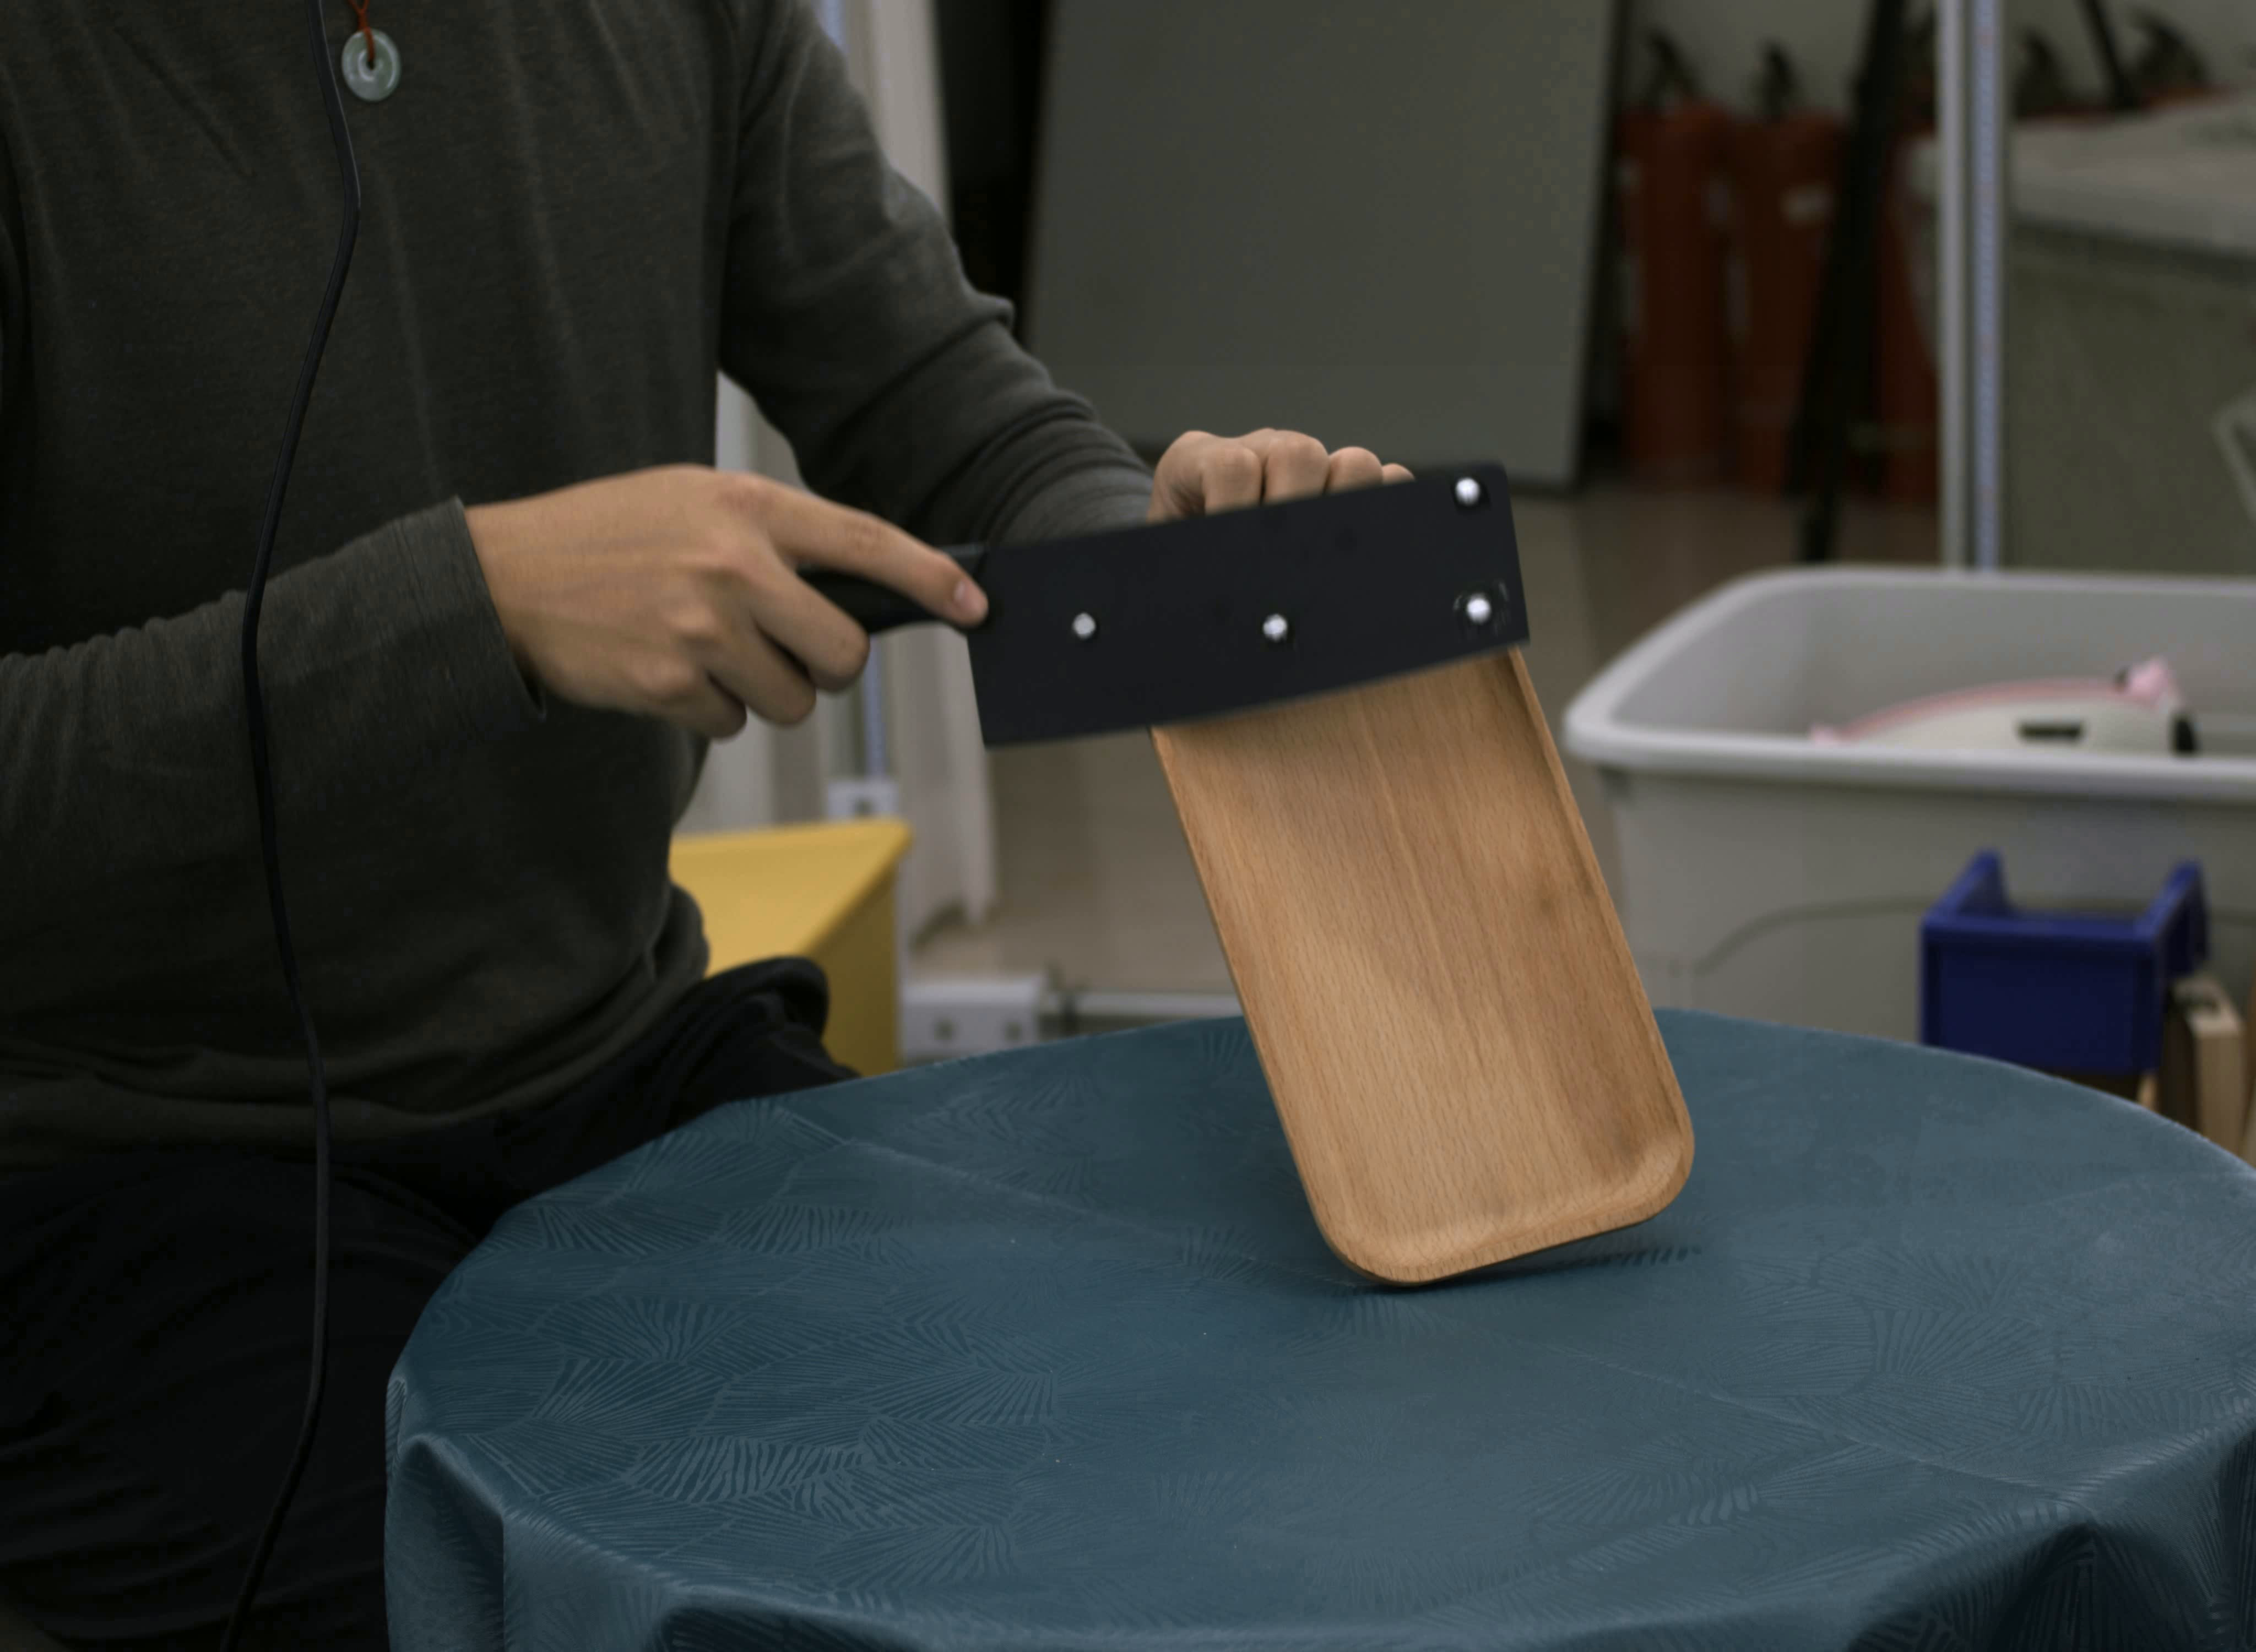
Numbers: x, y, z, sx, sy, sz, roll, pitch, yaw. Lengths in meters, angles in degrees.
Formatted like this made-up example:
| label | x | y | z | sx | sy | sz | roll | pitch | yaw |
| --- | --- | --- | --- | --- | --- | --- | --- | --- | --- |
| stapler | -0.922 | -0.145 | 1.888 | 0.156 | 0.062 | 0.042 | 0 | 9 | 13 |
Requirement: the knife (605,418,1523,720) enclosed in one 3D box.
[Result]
| label | x | y | z | sx | sy | sz | roll | pitch | yaw |
| --- | --- | --- | --- | --- | --- | --- | --- | --- | --- |
| knife | -0.023 | -0.073 | 1.723 | 0.300 | 0.082 | 0.020 | -6 | -8 | 12 |

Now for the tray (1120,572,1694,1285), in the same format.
| label | x | y | z | sx | sy | sz | roll | pitch | yaw |
| --- | --- | --- | --- | --- | --- | --- | --- | --- | --- |
| tray | 0.087 | 0.019 | 1.708 | 0.128 | 0.254 | 0.023 | -13 | -20 | -15 |
